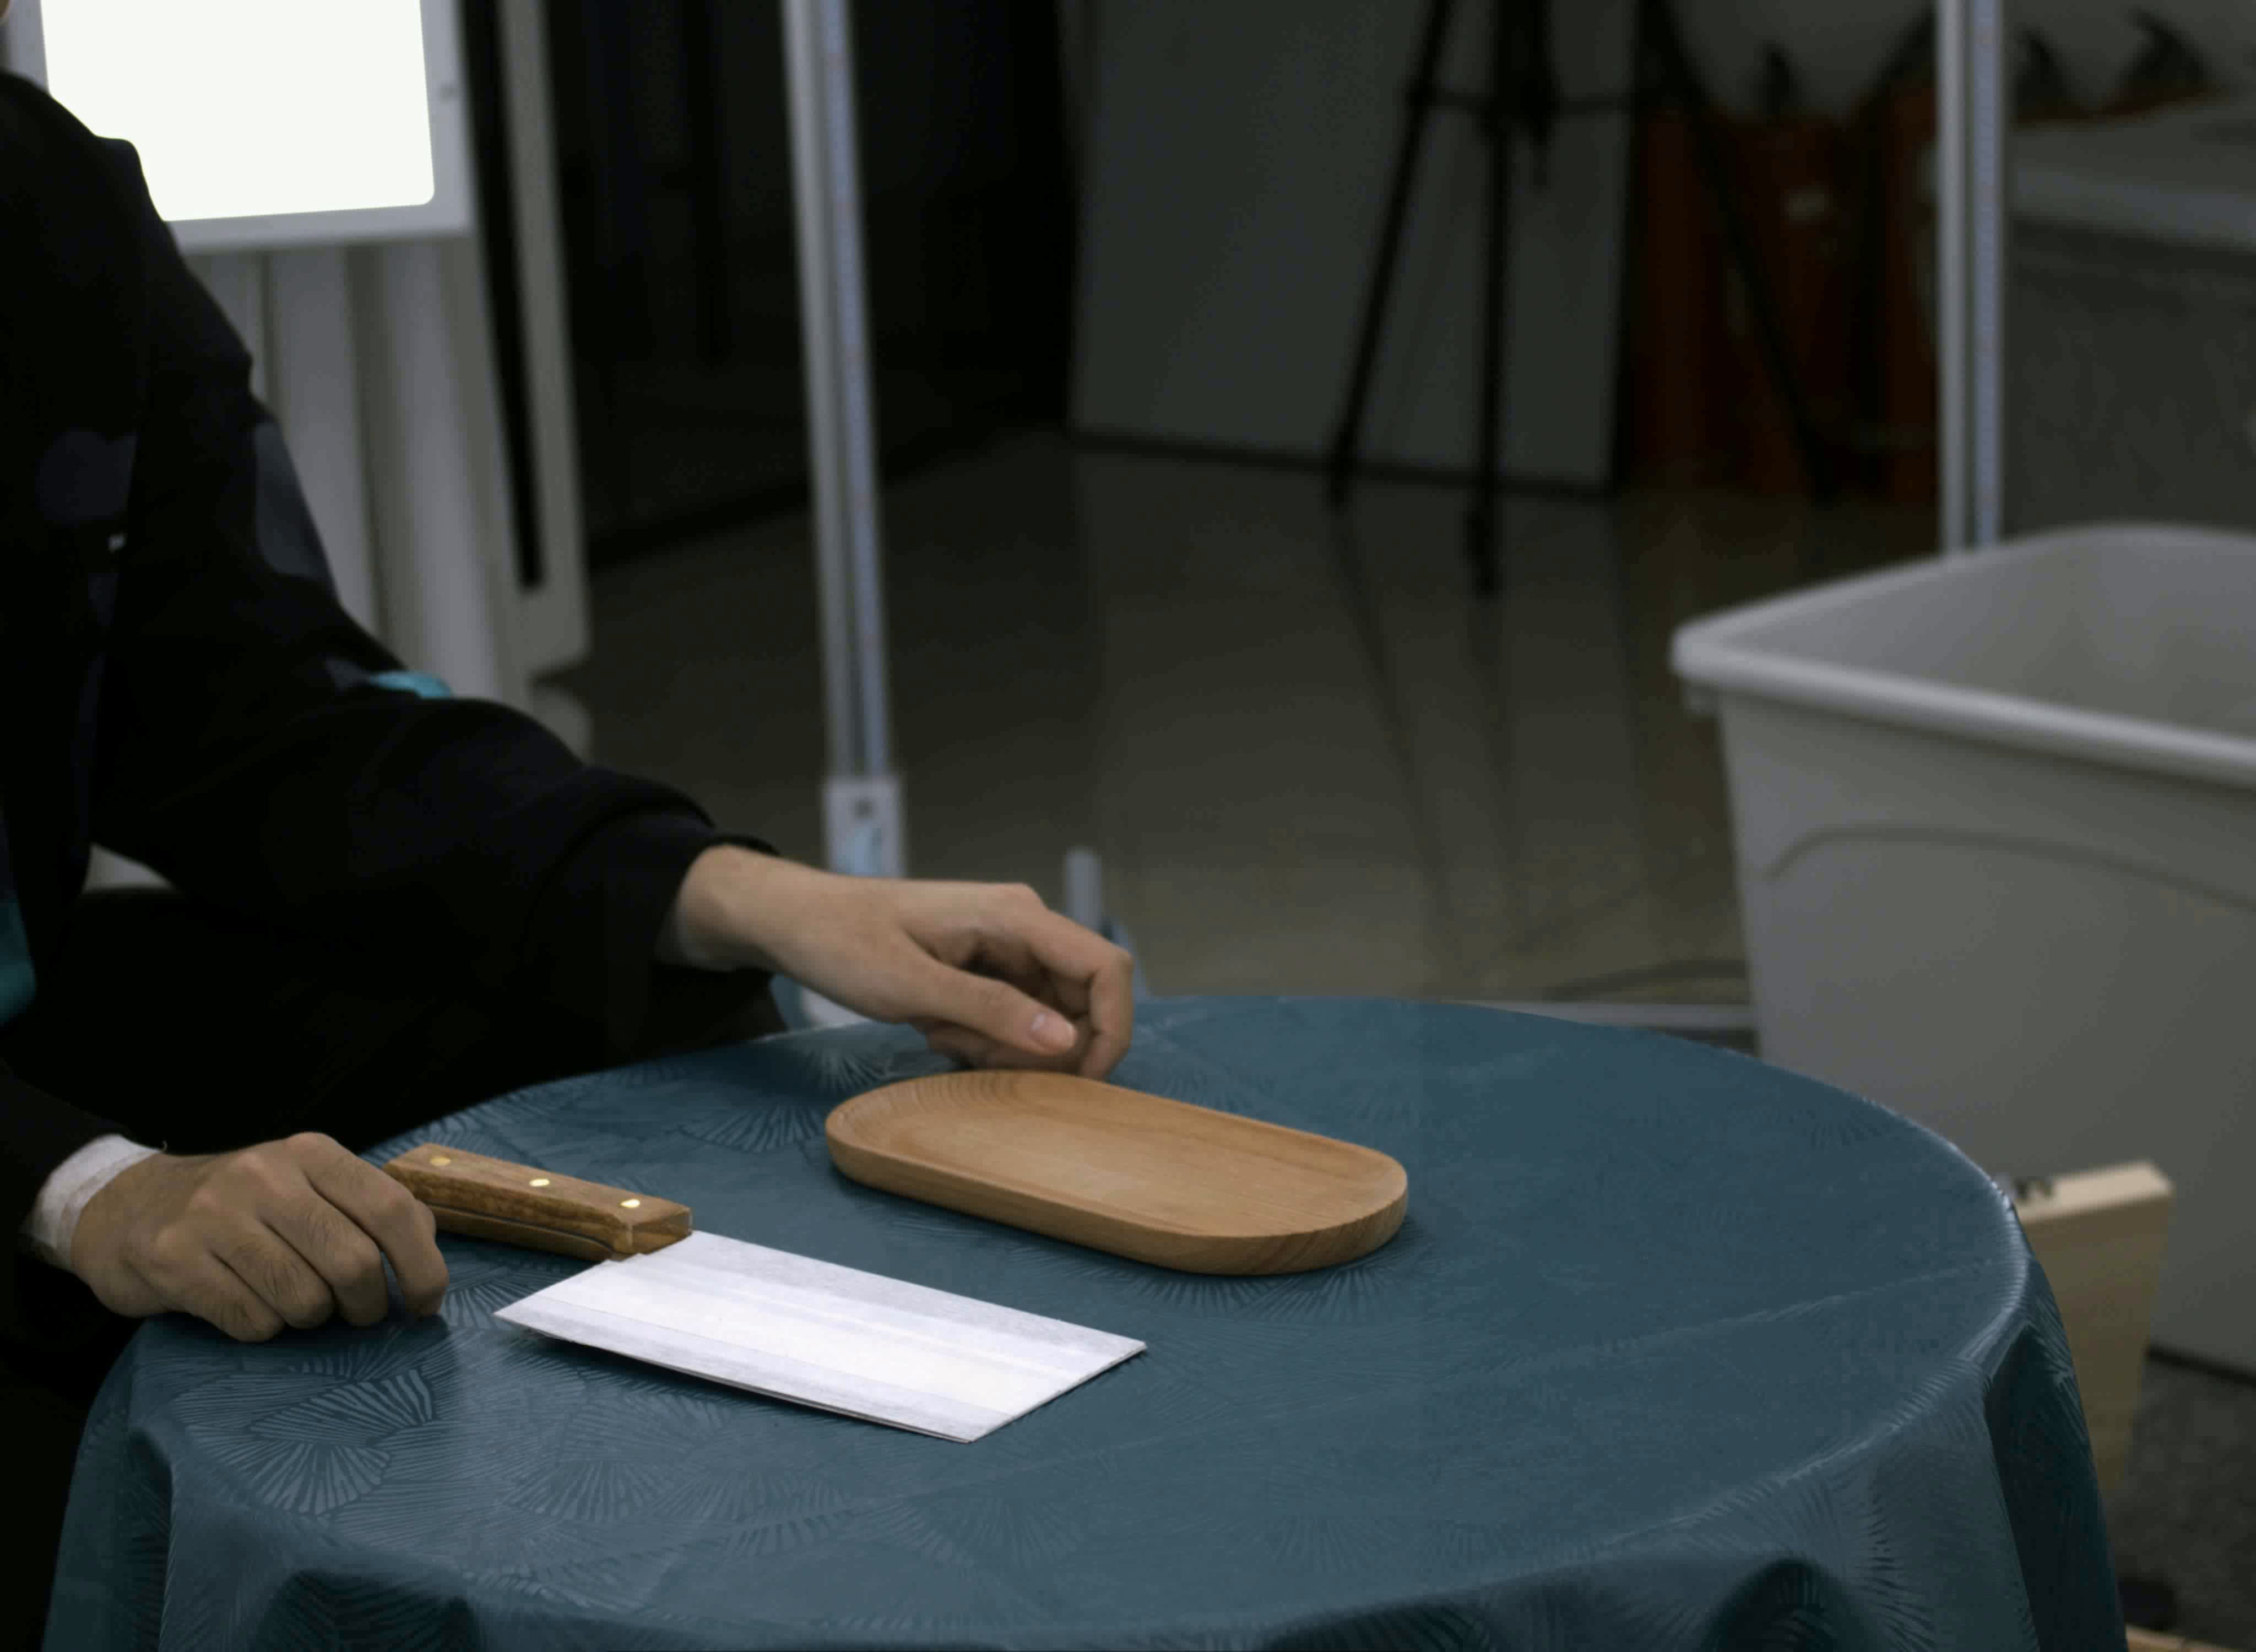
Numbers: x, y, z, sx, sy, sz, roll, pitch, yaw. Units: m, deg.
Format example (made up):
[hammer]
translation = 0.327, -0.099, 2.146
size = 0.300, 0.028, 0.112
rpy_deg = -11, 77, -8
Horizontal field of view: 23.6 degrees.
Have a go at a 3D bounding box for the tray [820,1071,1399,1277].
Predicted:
[tray]
translation = -0.008, 0.113, 1.770
size = 0.099, 0.020, 0.233
rpy_deg = -16, 17, -41

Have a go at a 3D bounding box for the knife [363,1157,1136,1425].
[knife]
translation = -0.138, 0.146, 1.678
size = 0.308, 0.021, 0.091
rpy_deg = 9, 21, 37
